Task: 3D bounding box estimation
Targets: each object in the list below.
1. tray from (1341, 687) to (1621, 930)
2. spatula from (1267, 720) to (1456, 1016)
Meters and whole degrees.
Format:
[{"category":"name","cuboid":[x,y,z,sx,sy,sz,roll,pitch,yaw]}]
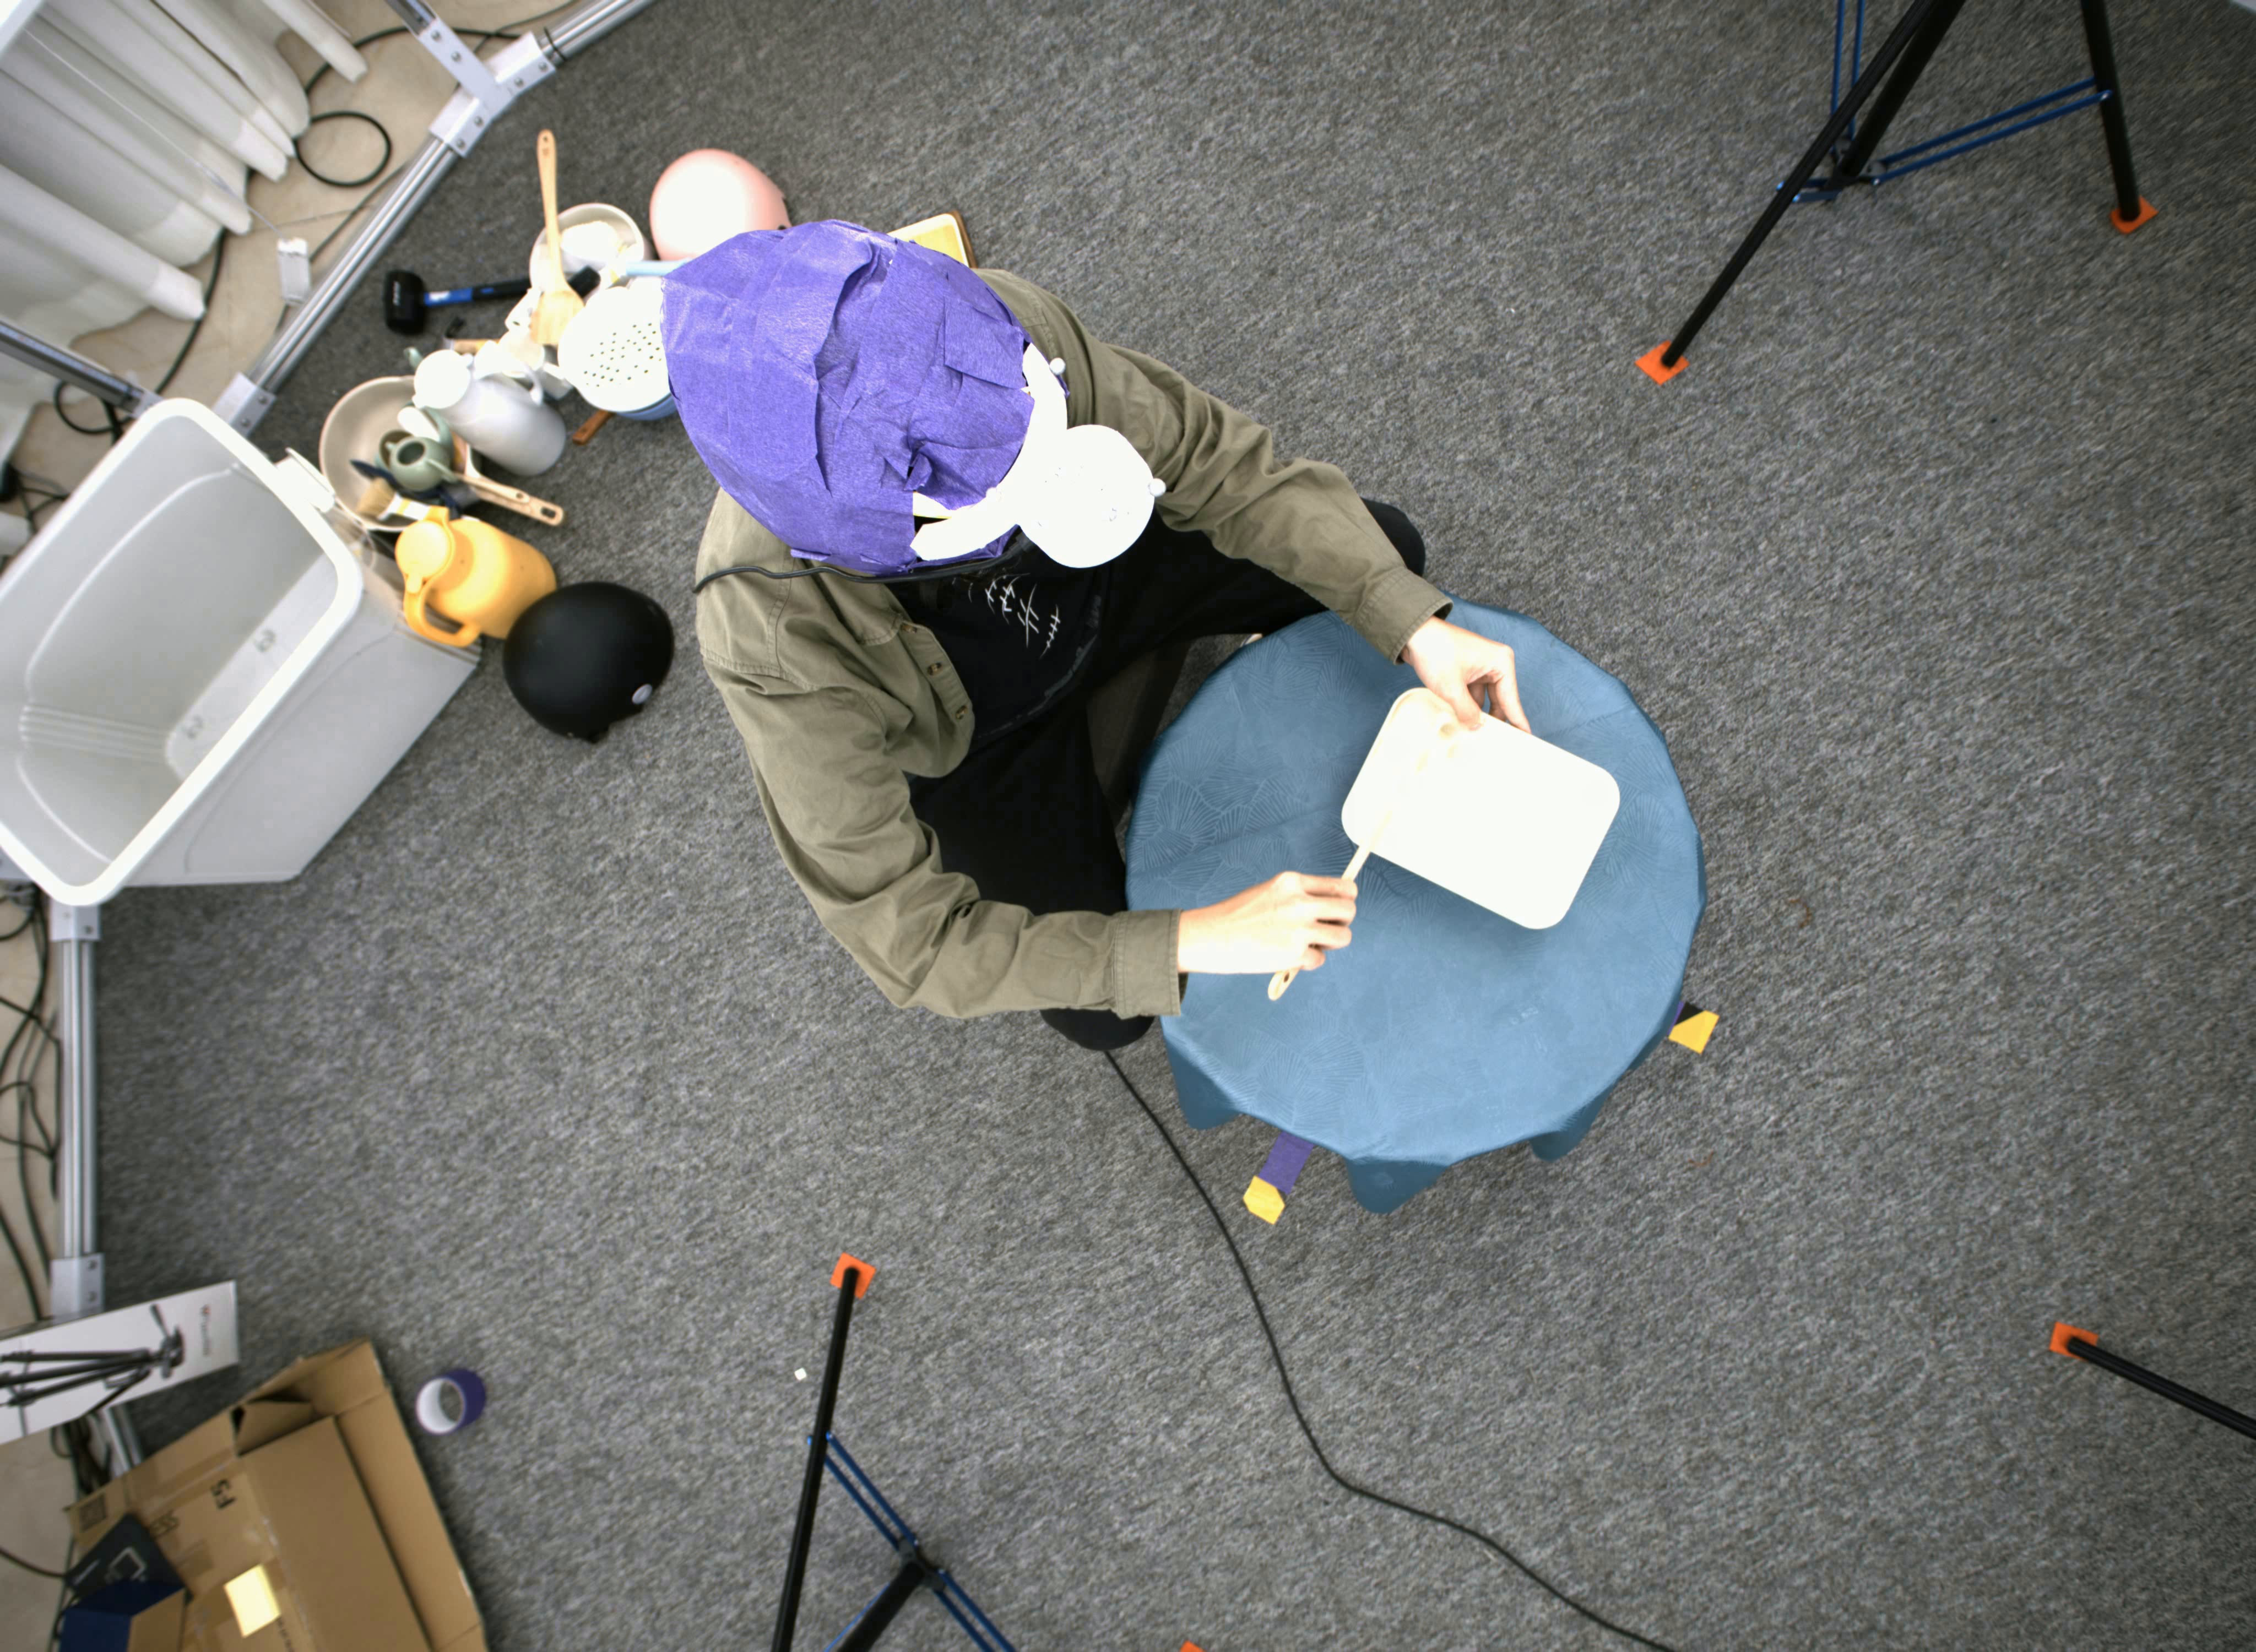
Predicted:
[{"category":"tray","cuboid":[0.340,-0.019,1.329,0.240,0.017,0.172,26,95,4]},{"category":"spatula","cuboid":[0.213,0.035,1.244,0.016,0.081,0.323,26,72,27]}]
